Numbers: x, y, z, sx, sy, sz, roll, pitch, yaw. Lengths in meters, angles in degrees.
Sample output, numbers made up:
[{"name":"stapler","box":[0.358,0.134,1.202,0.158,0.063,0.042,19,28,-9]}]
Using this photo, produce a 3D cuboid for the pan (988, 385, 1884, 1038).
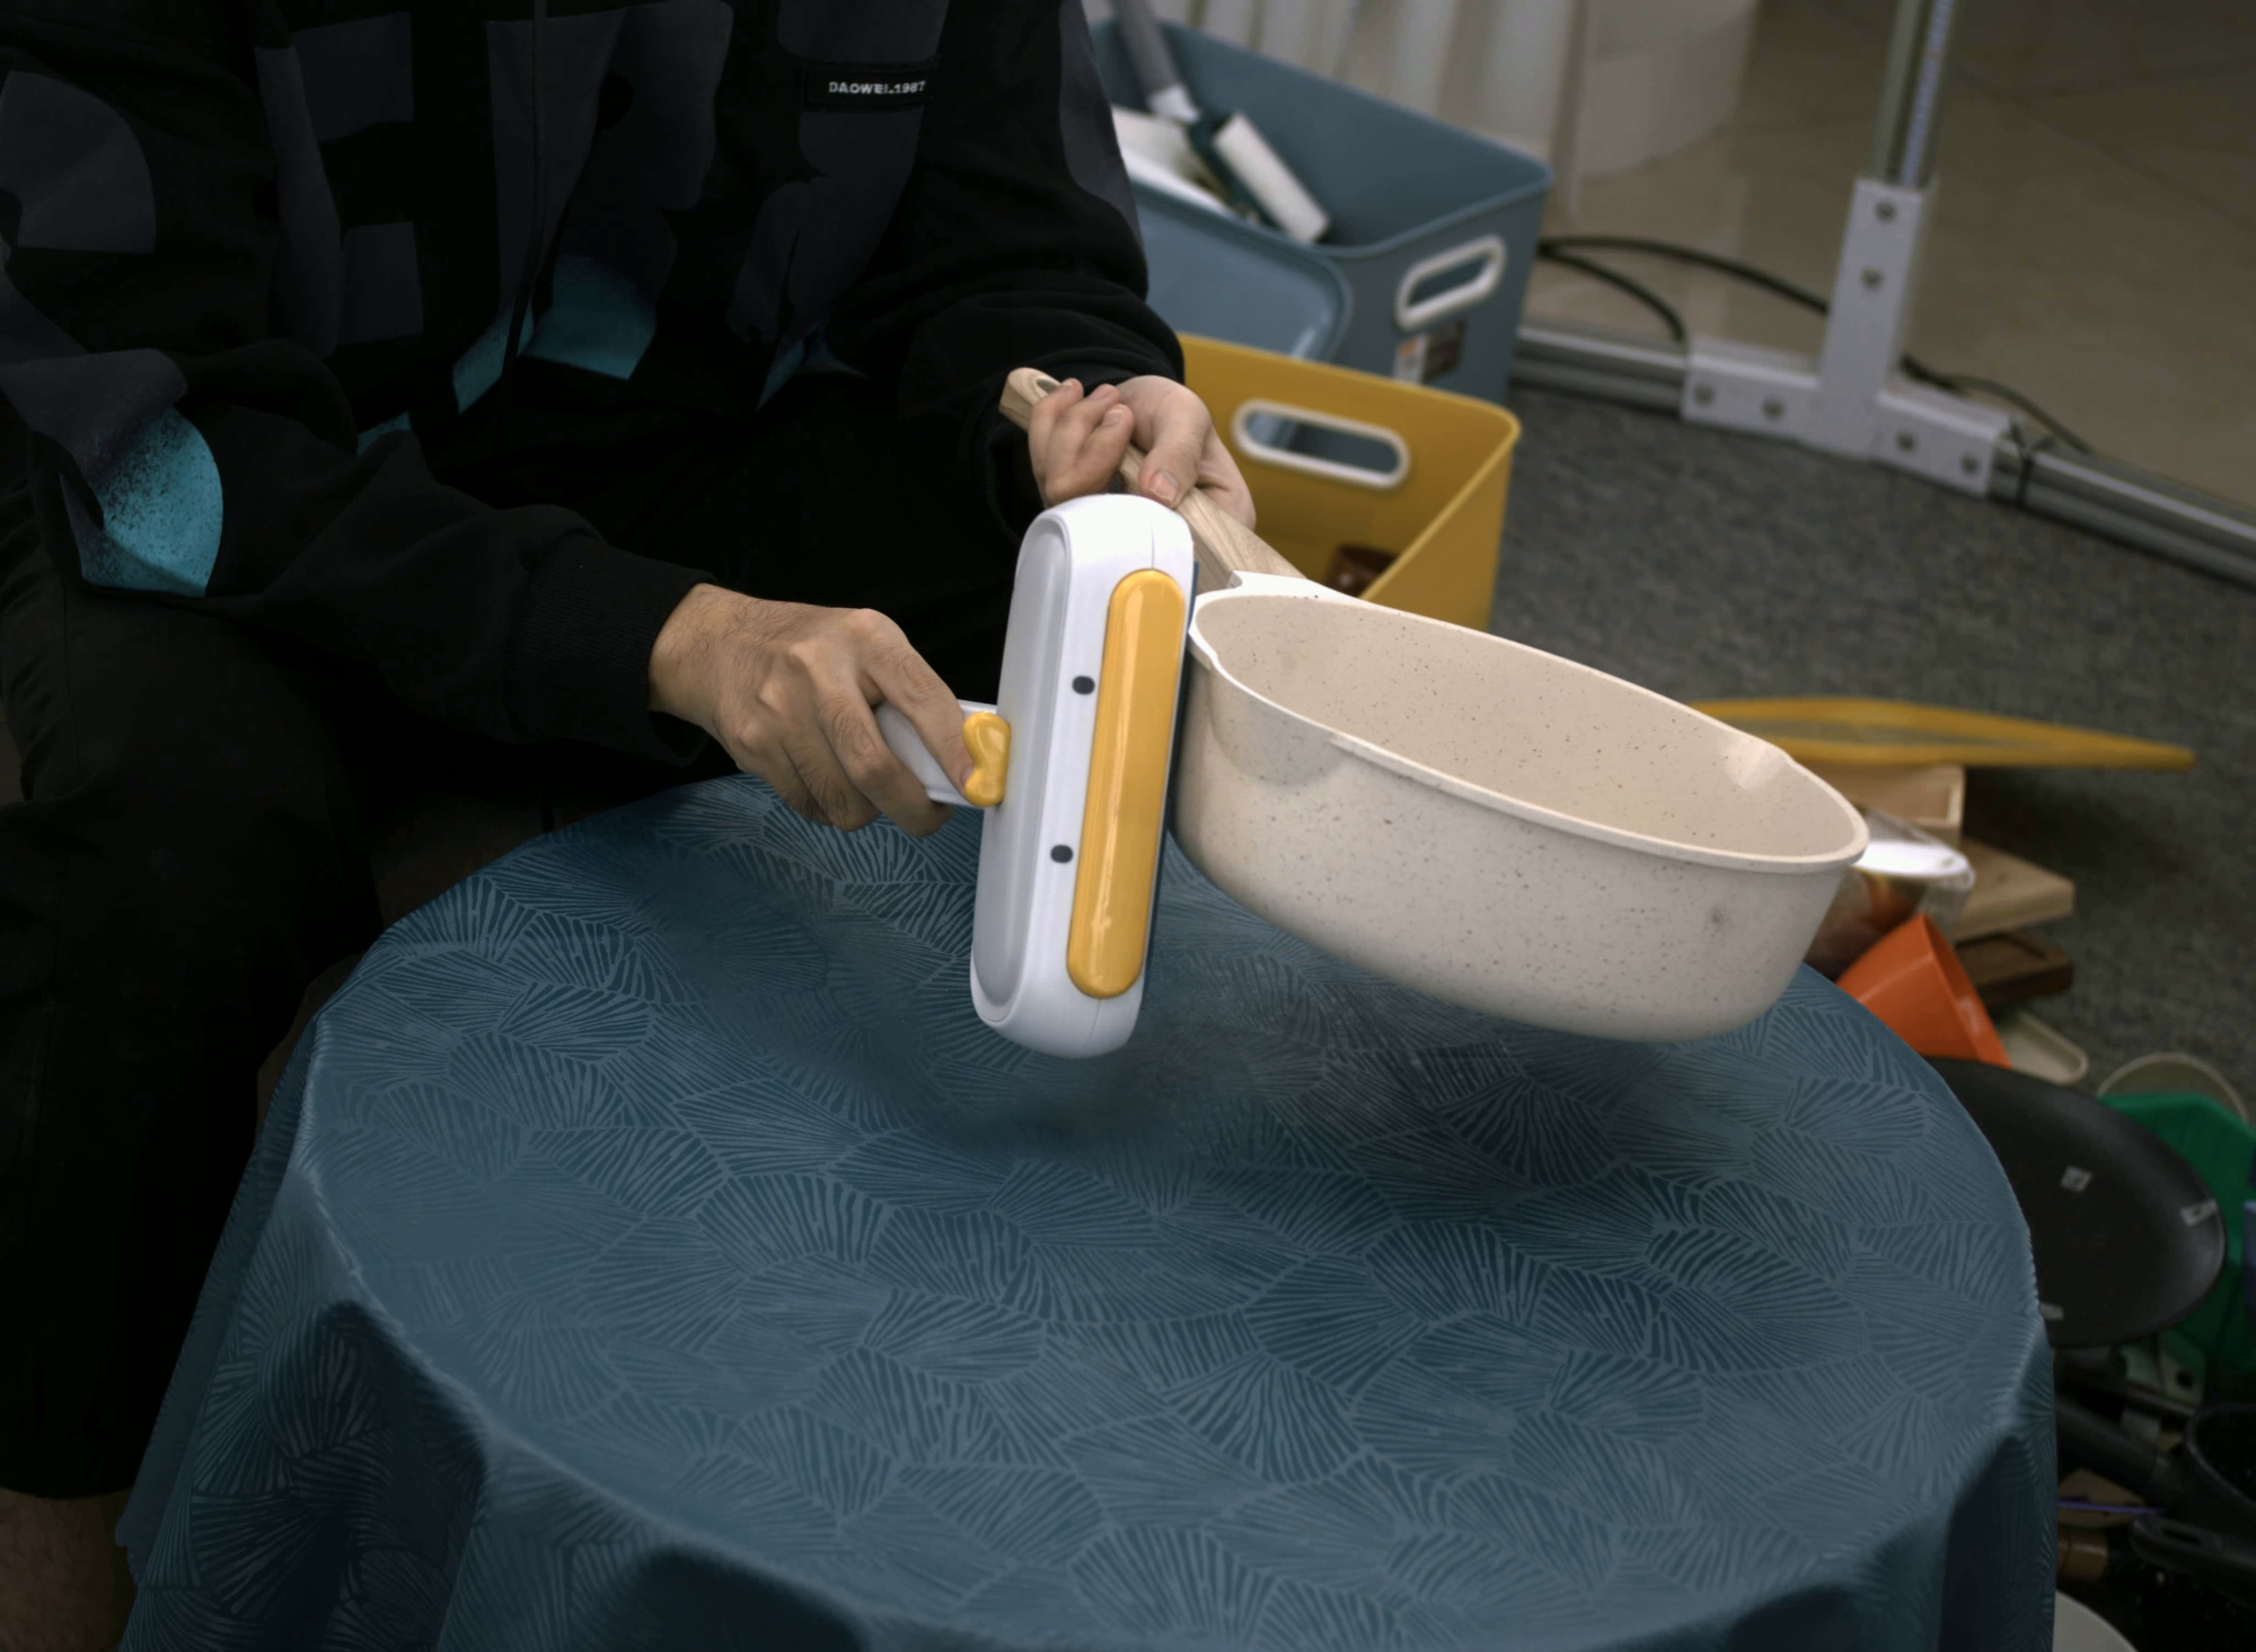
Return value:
[{"name":"pan","box":[0.077,-0.042,1.917,0.261,0.102,0.438,2,21,-41]}]

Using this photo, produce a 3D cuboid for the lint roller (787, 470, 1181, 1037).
[{"name":"lint roller","box":[-0.052,-0.026,1.859,0.073,0.193,0.193,1,1,-30]}]
